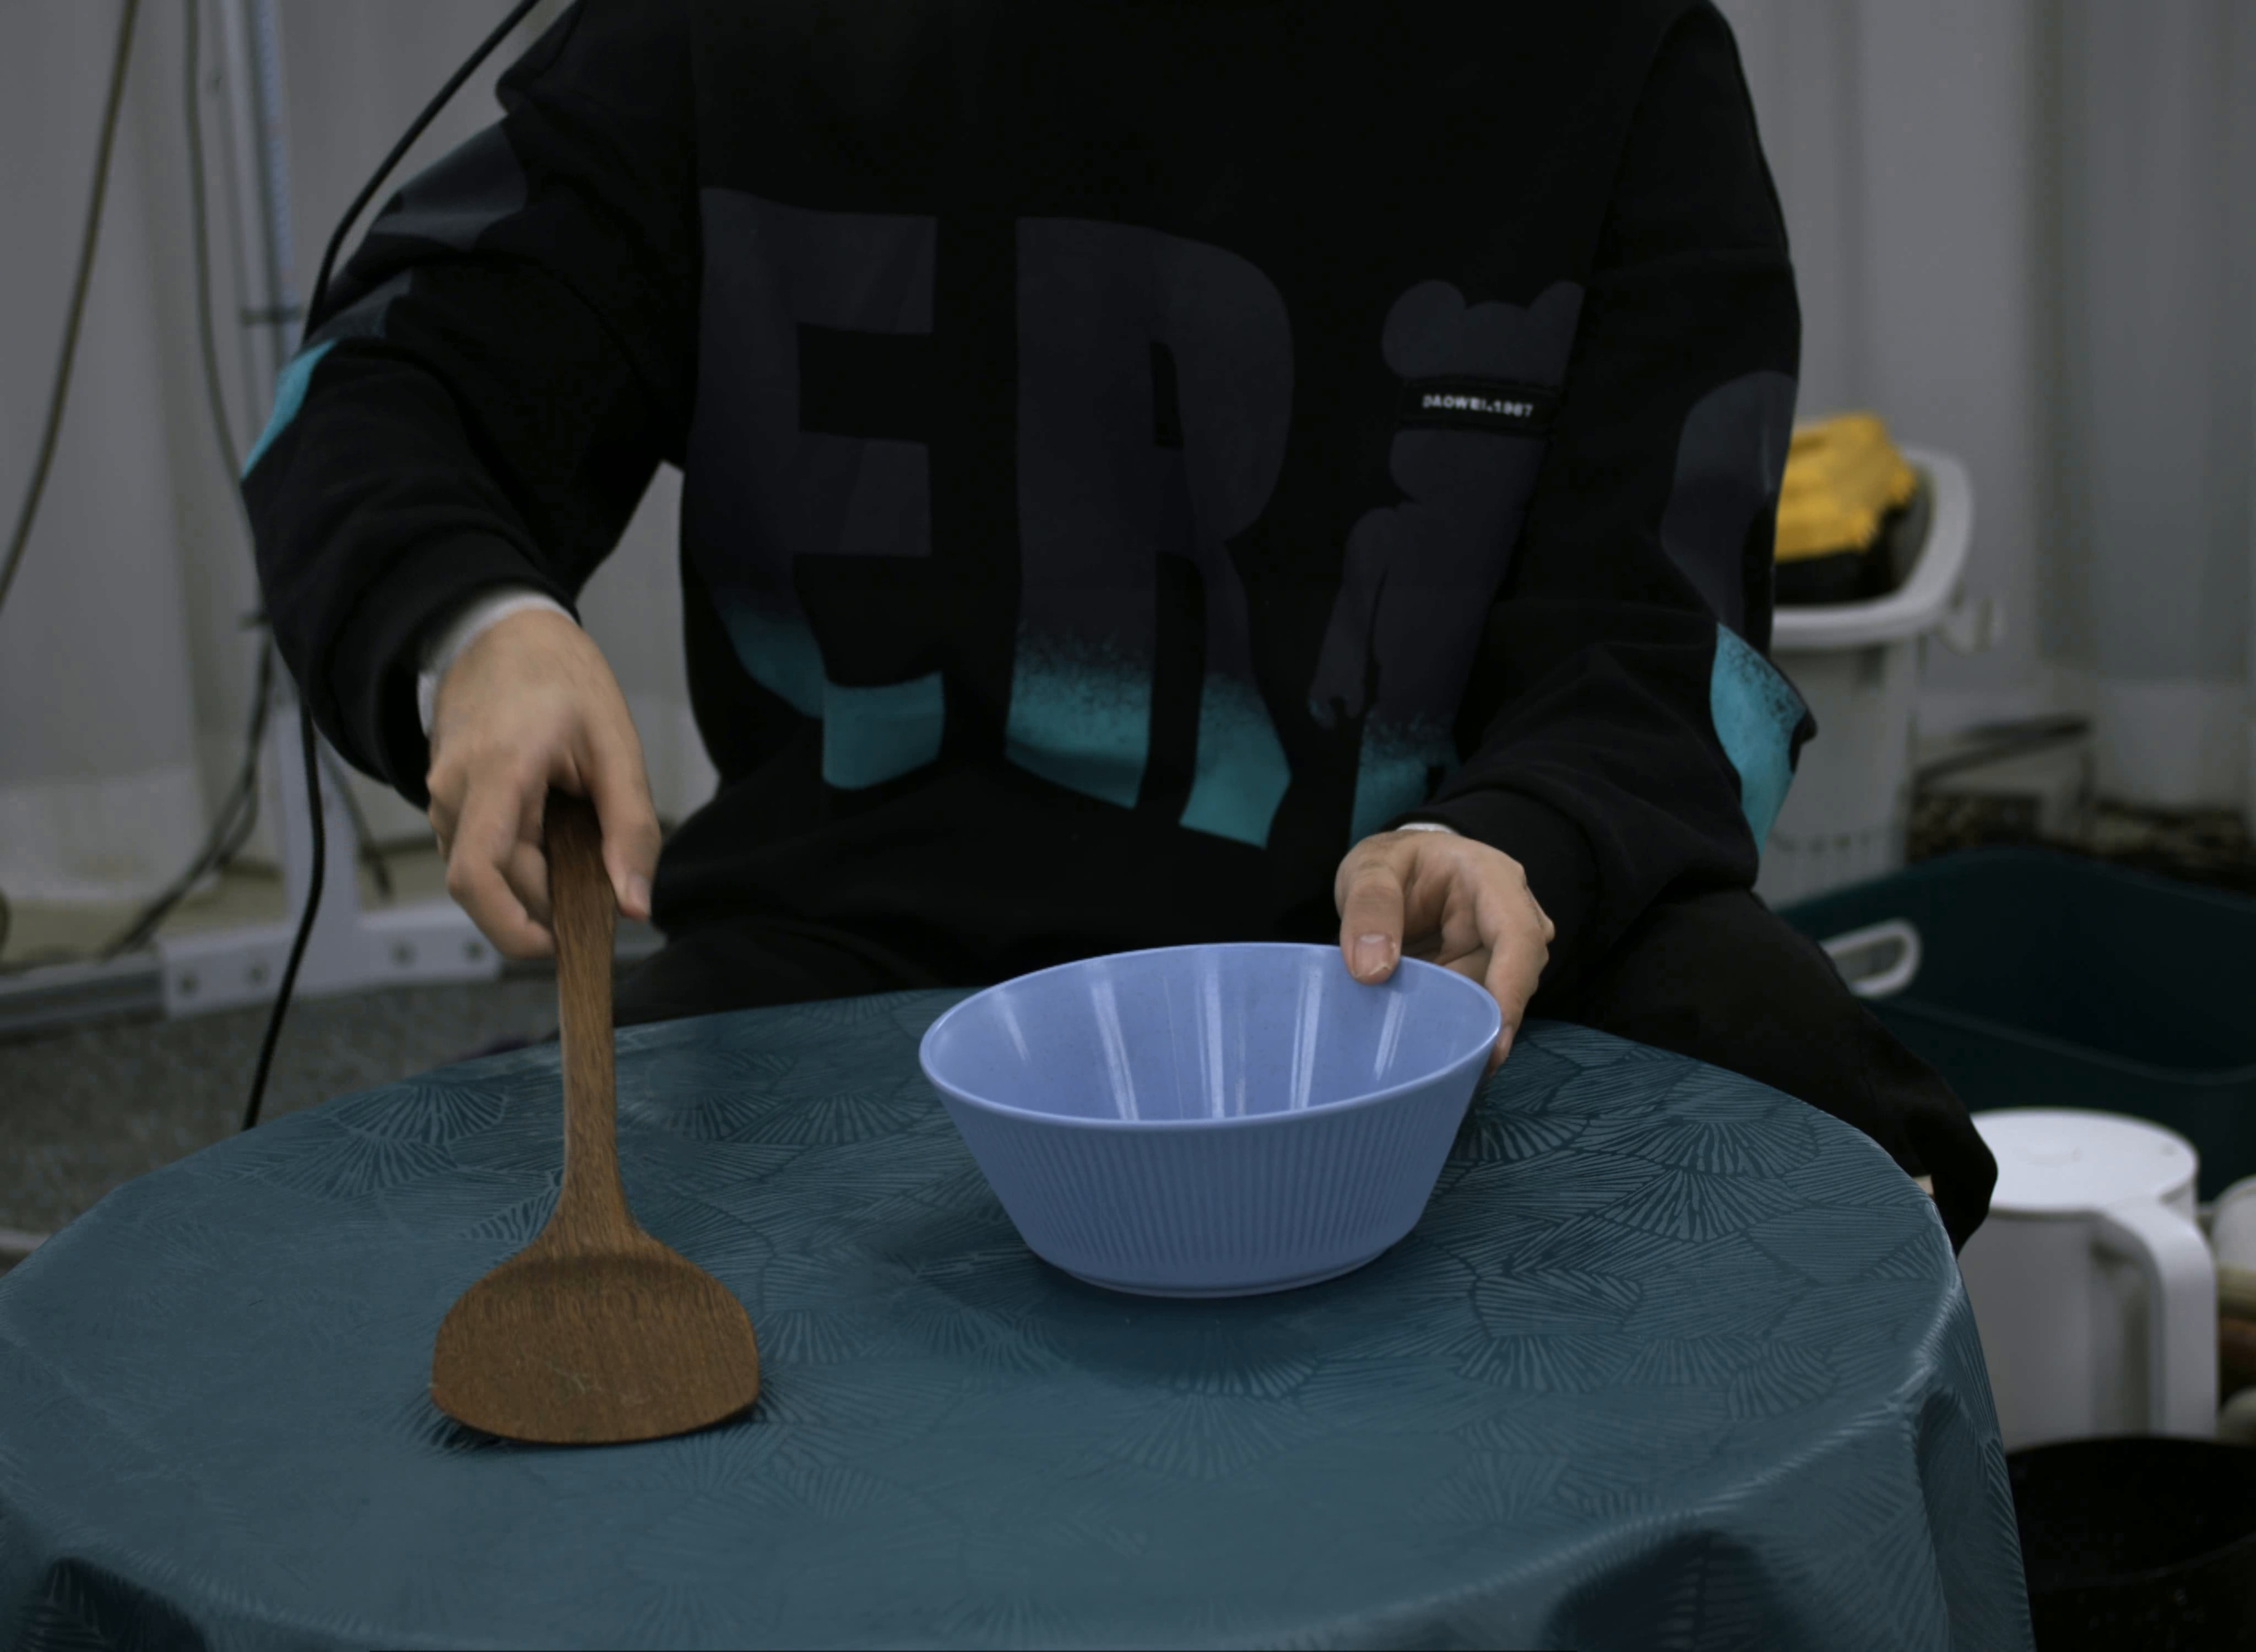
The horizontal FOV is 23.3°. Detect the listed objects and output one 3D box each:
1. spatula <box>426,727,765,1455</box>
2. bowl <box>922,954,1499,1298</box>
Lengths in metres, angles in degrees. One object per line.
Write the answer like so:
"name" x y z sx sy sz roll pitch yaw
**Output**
"spatula" -0.166 0.071 1.685 0.096 0.015 0.391 -1 33 -6
"bowl" 0.027 0.093 1.655 0.175 0.070 0.177 -3 14 1
